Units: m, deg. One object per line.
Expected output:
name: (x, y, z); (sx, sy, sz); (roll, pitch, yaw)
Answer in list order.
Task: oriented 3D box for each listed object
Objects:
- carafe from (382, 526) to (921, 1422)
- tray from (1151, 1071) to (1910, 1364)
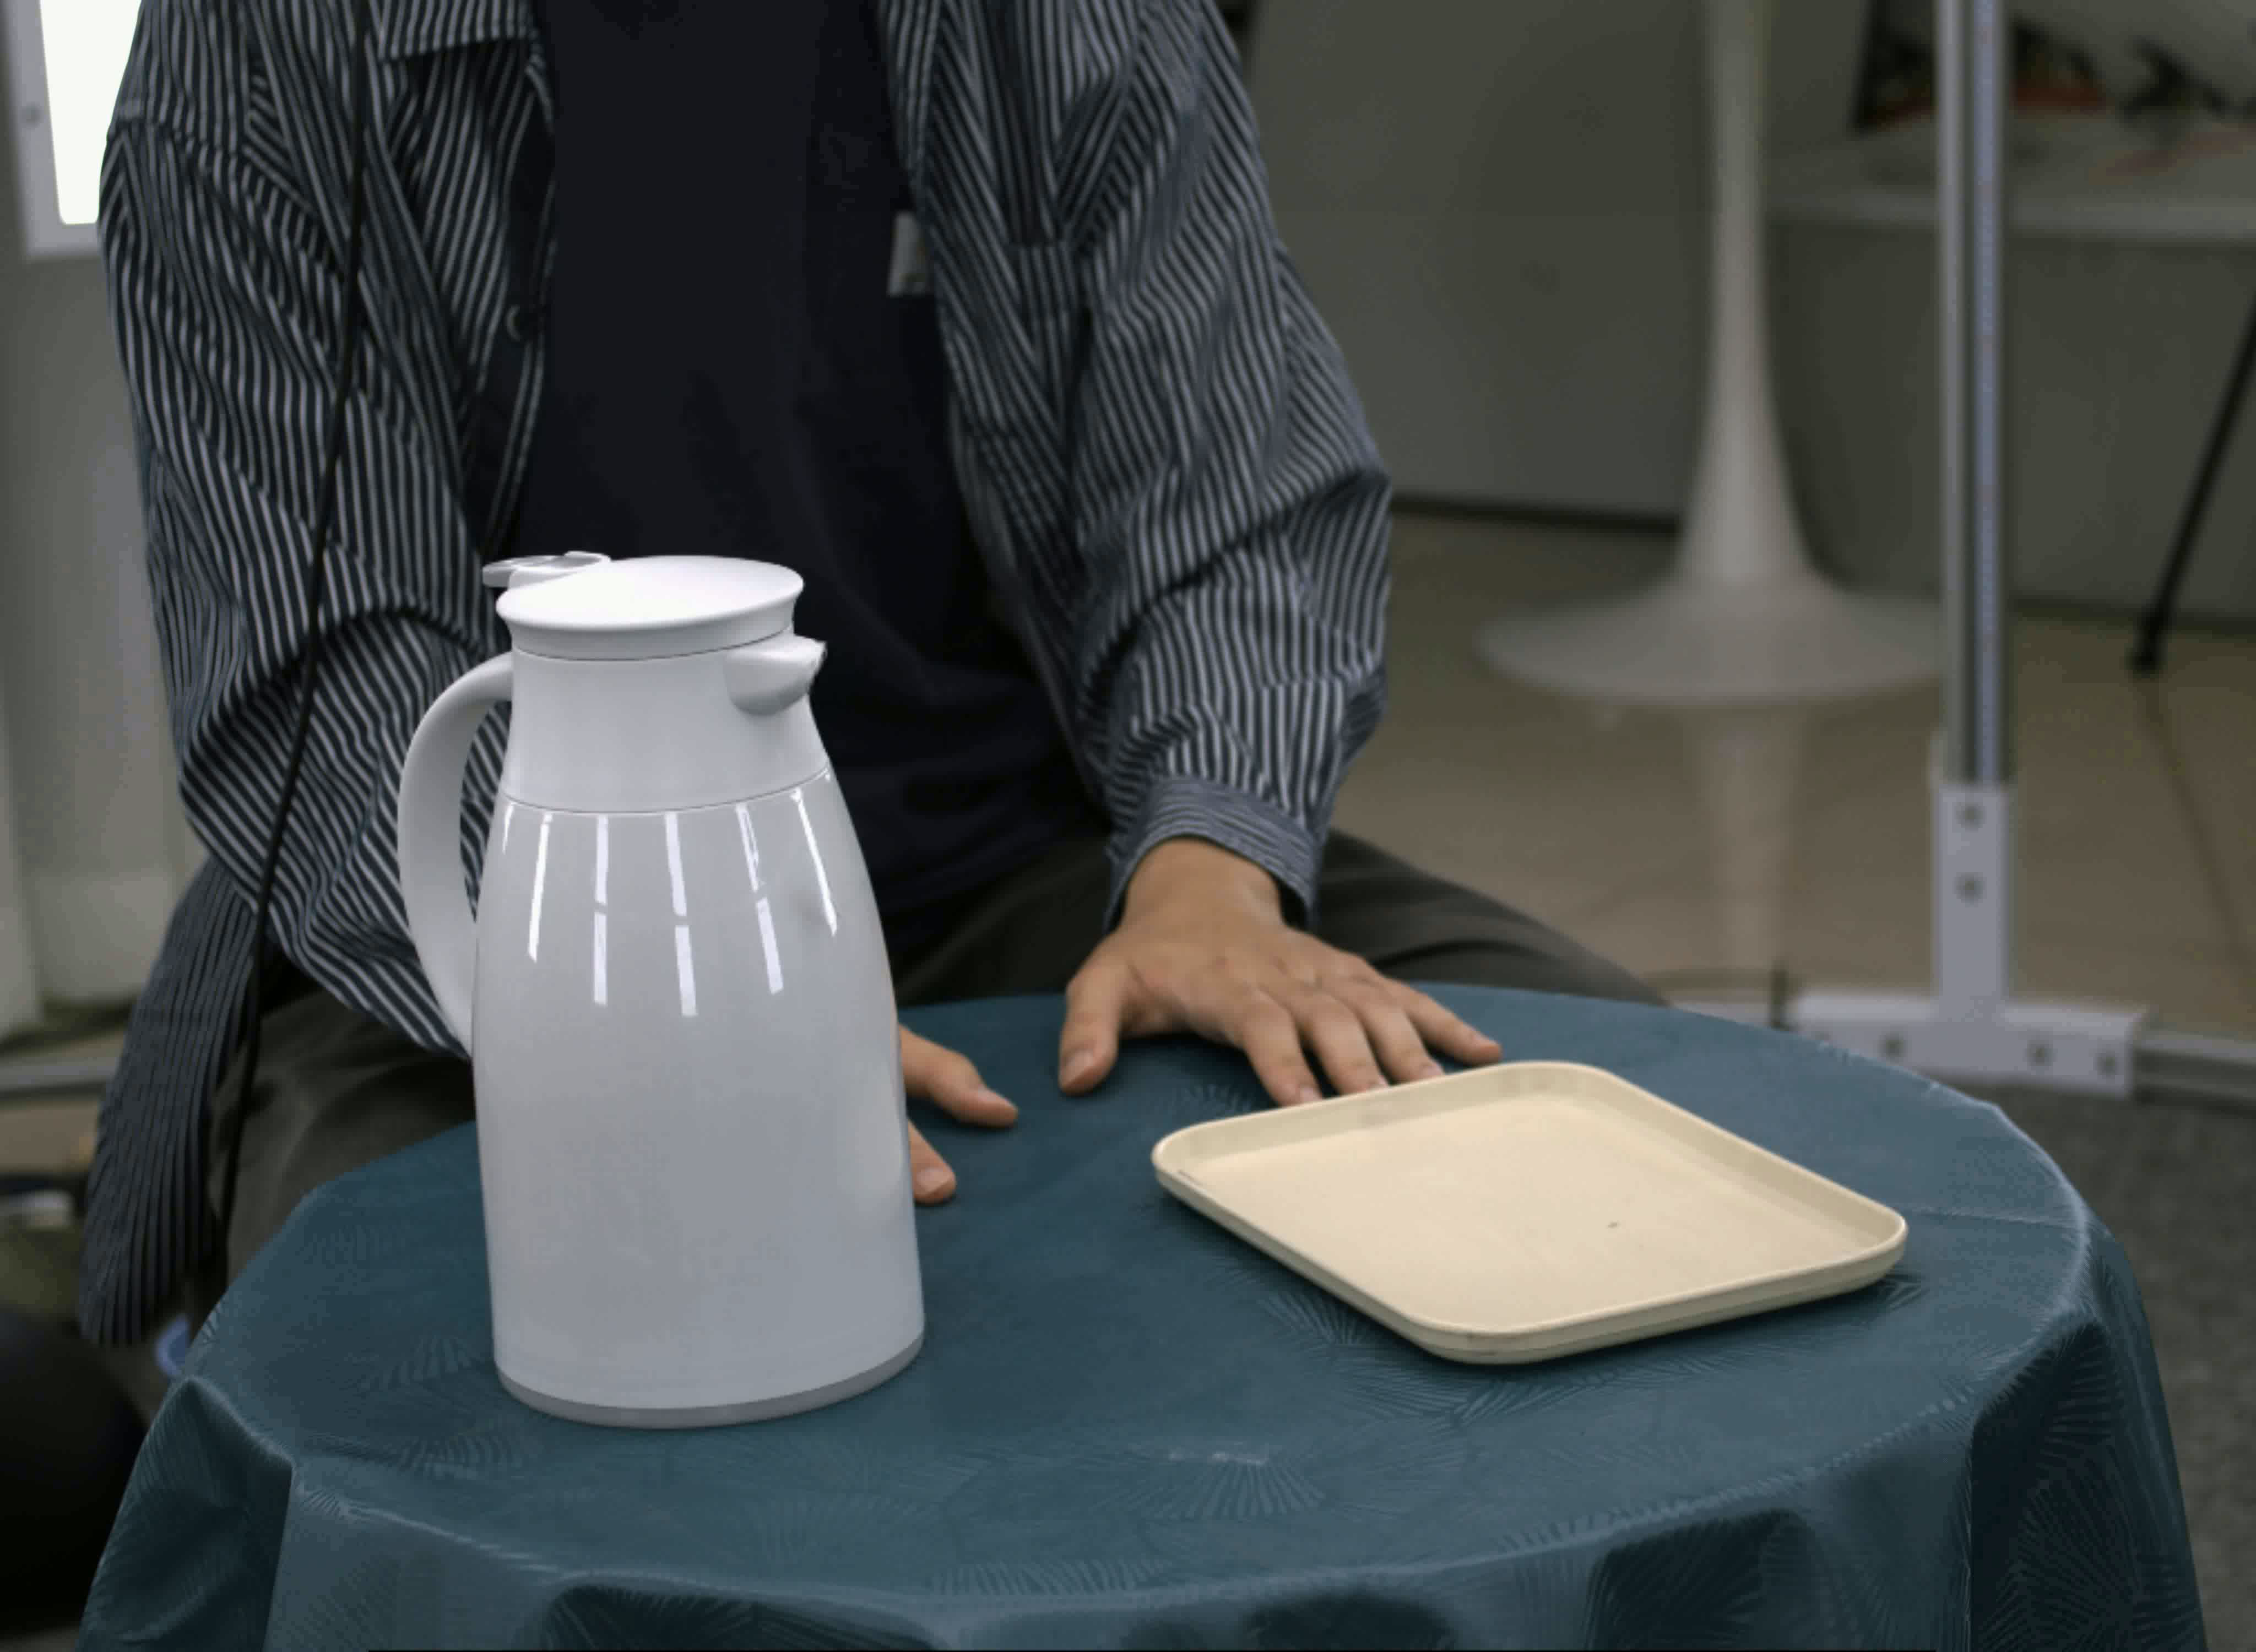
carafe: (-0.151, 0.037, 1.622); (0.168, 0.251, 0.130); (4, 15, 32)
tray: (0.123, 0.122, 1.694); (0.167, 0.017, 0.242); (-9, 14, -22)
